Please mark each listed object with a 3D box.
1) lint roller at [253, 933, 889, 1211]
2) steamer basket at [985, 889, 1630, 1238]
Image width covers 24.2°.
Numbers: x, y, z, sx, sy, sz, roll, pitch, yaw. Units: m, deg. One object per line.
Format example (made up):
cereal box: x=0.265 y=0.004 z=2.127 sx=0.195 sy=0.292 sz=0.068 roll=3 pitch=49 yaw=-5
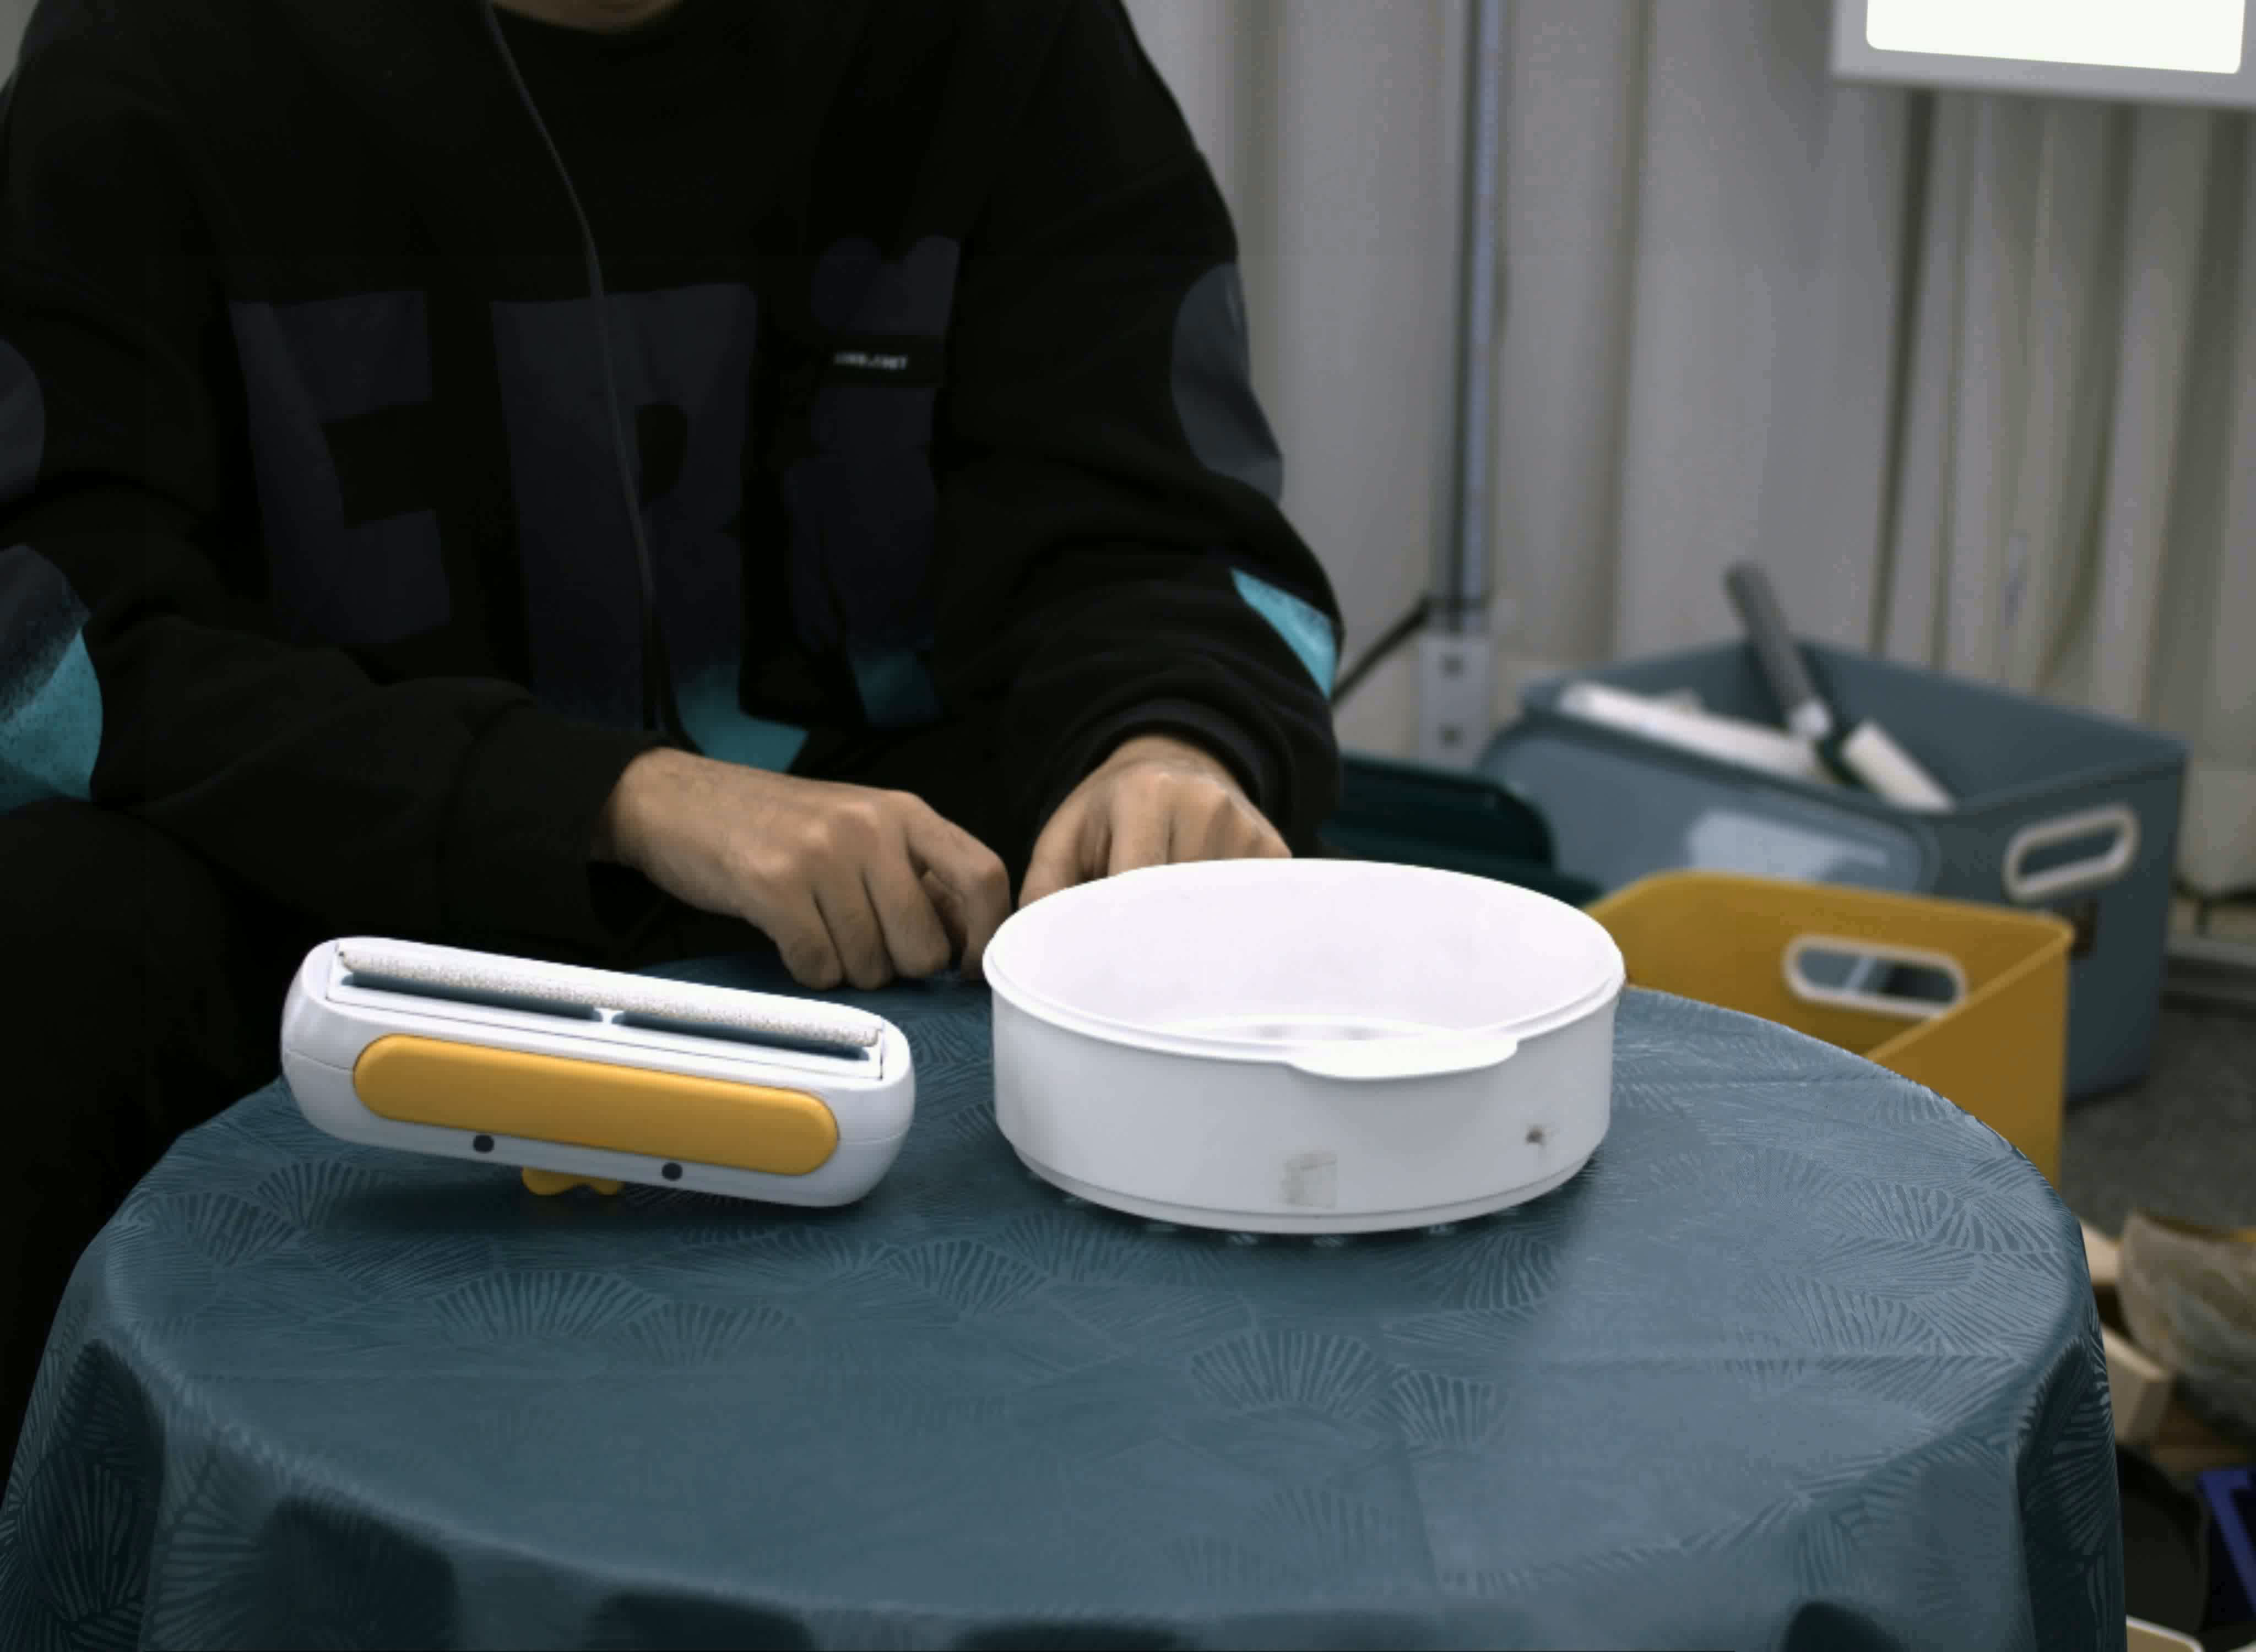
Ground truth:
lint roller: x=-0.170 y=0.066 z=1.653 sx=0.192 sy=0.075 sz=0.191 roll=5 pitch=14 yaw=-3
steamer basket: x=0.055 y=0.074 z=1.646 sx=0.202 sy=0.070 sz=0.228 roll=-3 pitch=13 yaw=-17
